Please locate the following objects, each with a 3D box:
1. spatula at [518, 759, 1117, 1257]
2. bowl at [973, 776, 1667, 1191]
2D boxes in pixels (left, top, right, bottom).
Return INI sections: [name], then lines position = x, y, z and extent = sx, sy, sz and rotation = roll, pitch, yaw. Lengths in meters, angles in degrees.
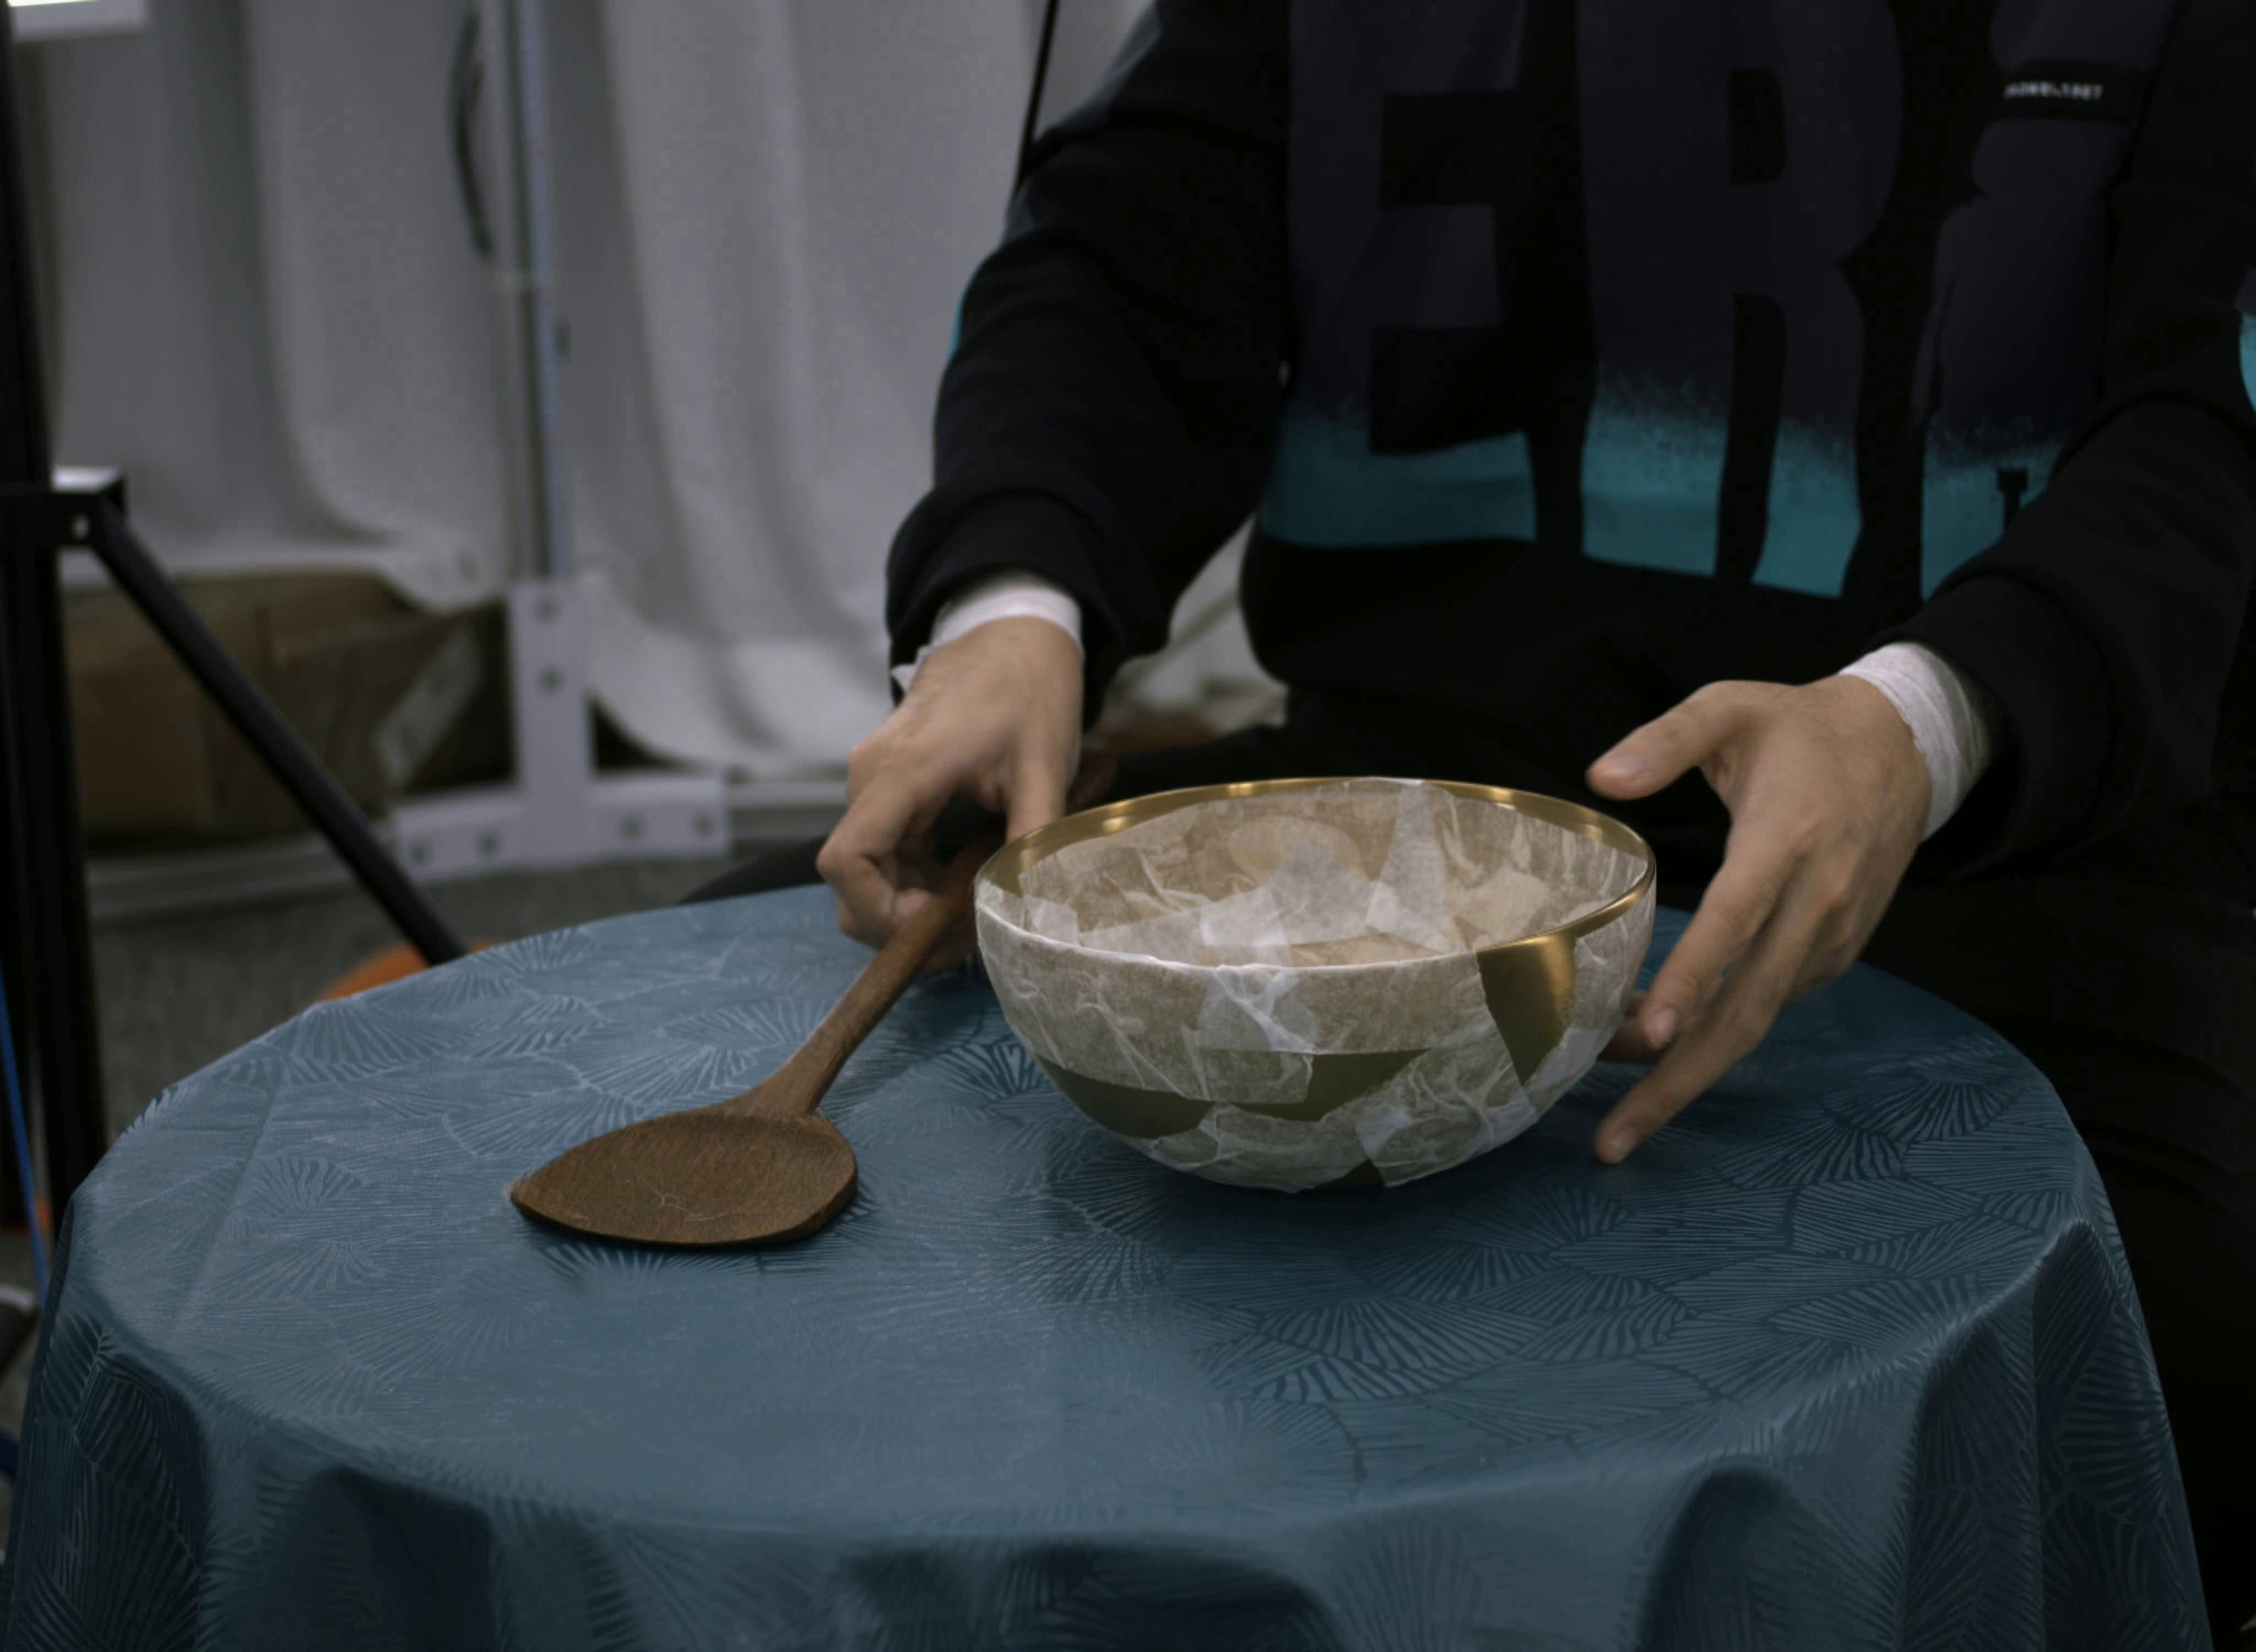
[spatula]
position = -0.077, 0.050, 1.695
extent = 0.097, 0.016, 0.382
rotation = 4, 24, 20
[bowl]
position = 0.060, 0.054, 1.568
extent = 0.213, 0.094, 0.216
rotation = -4, 14, -1
